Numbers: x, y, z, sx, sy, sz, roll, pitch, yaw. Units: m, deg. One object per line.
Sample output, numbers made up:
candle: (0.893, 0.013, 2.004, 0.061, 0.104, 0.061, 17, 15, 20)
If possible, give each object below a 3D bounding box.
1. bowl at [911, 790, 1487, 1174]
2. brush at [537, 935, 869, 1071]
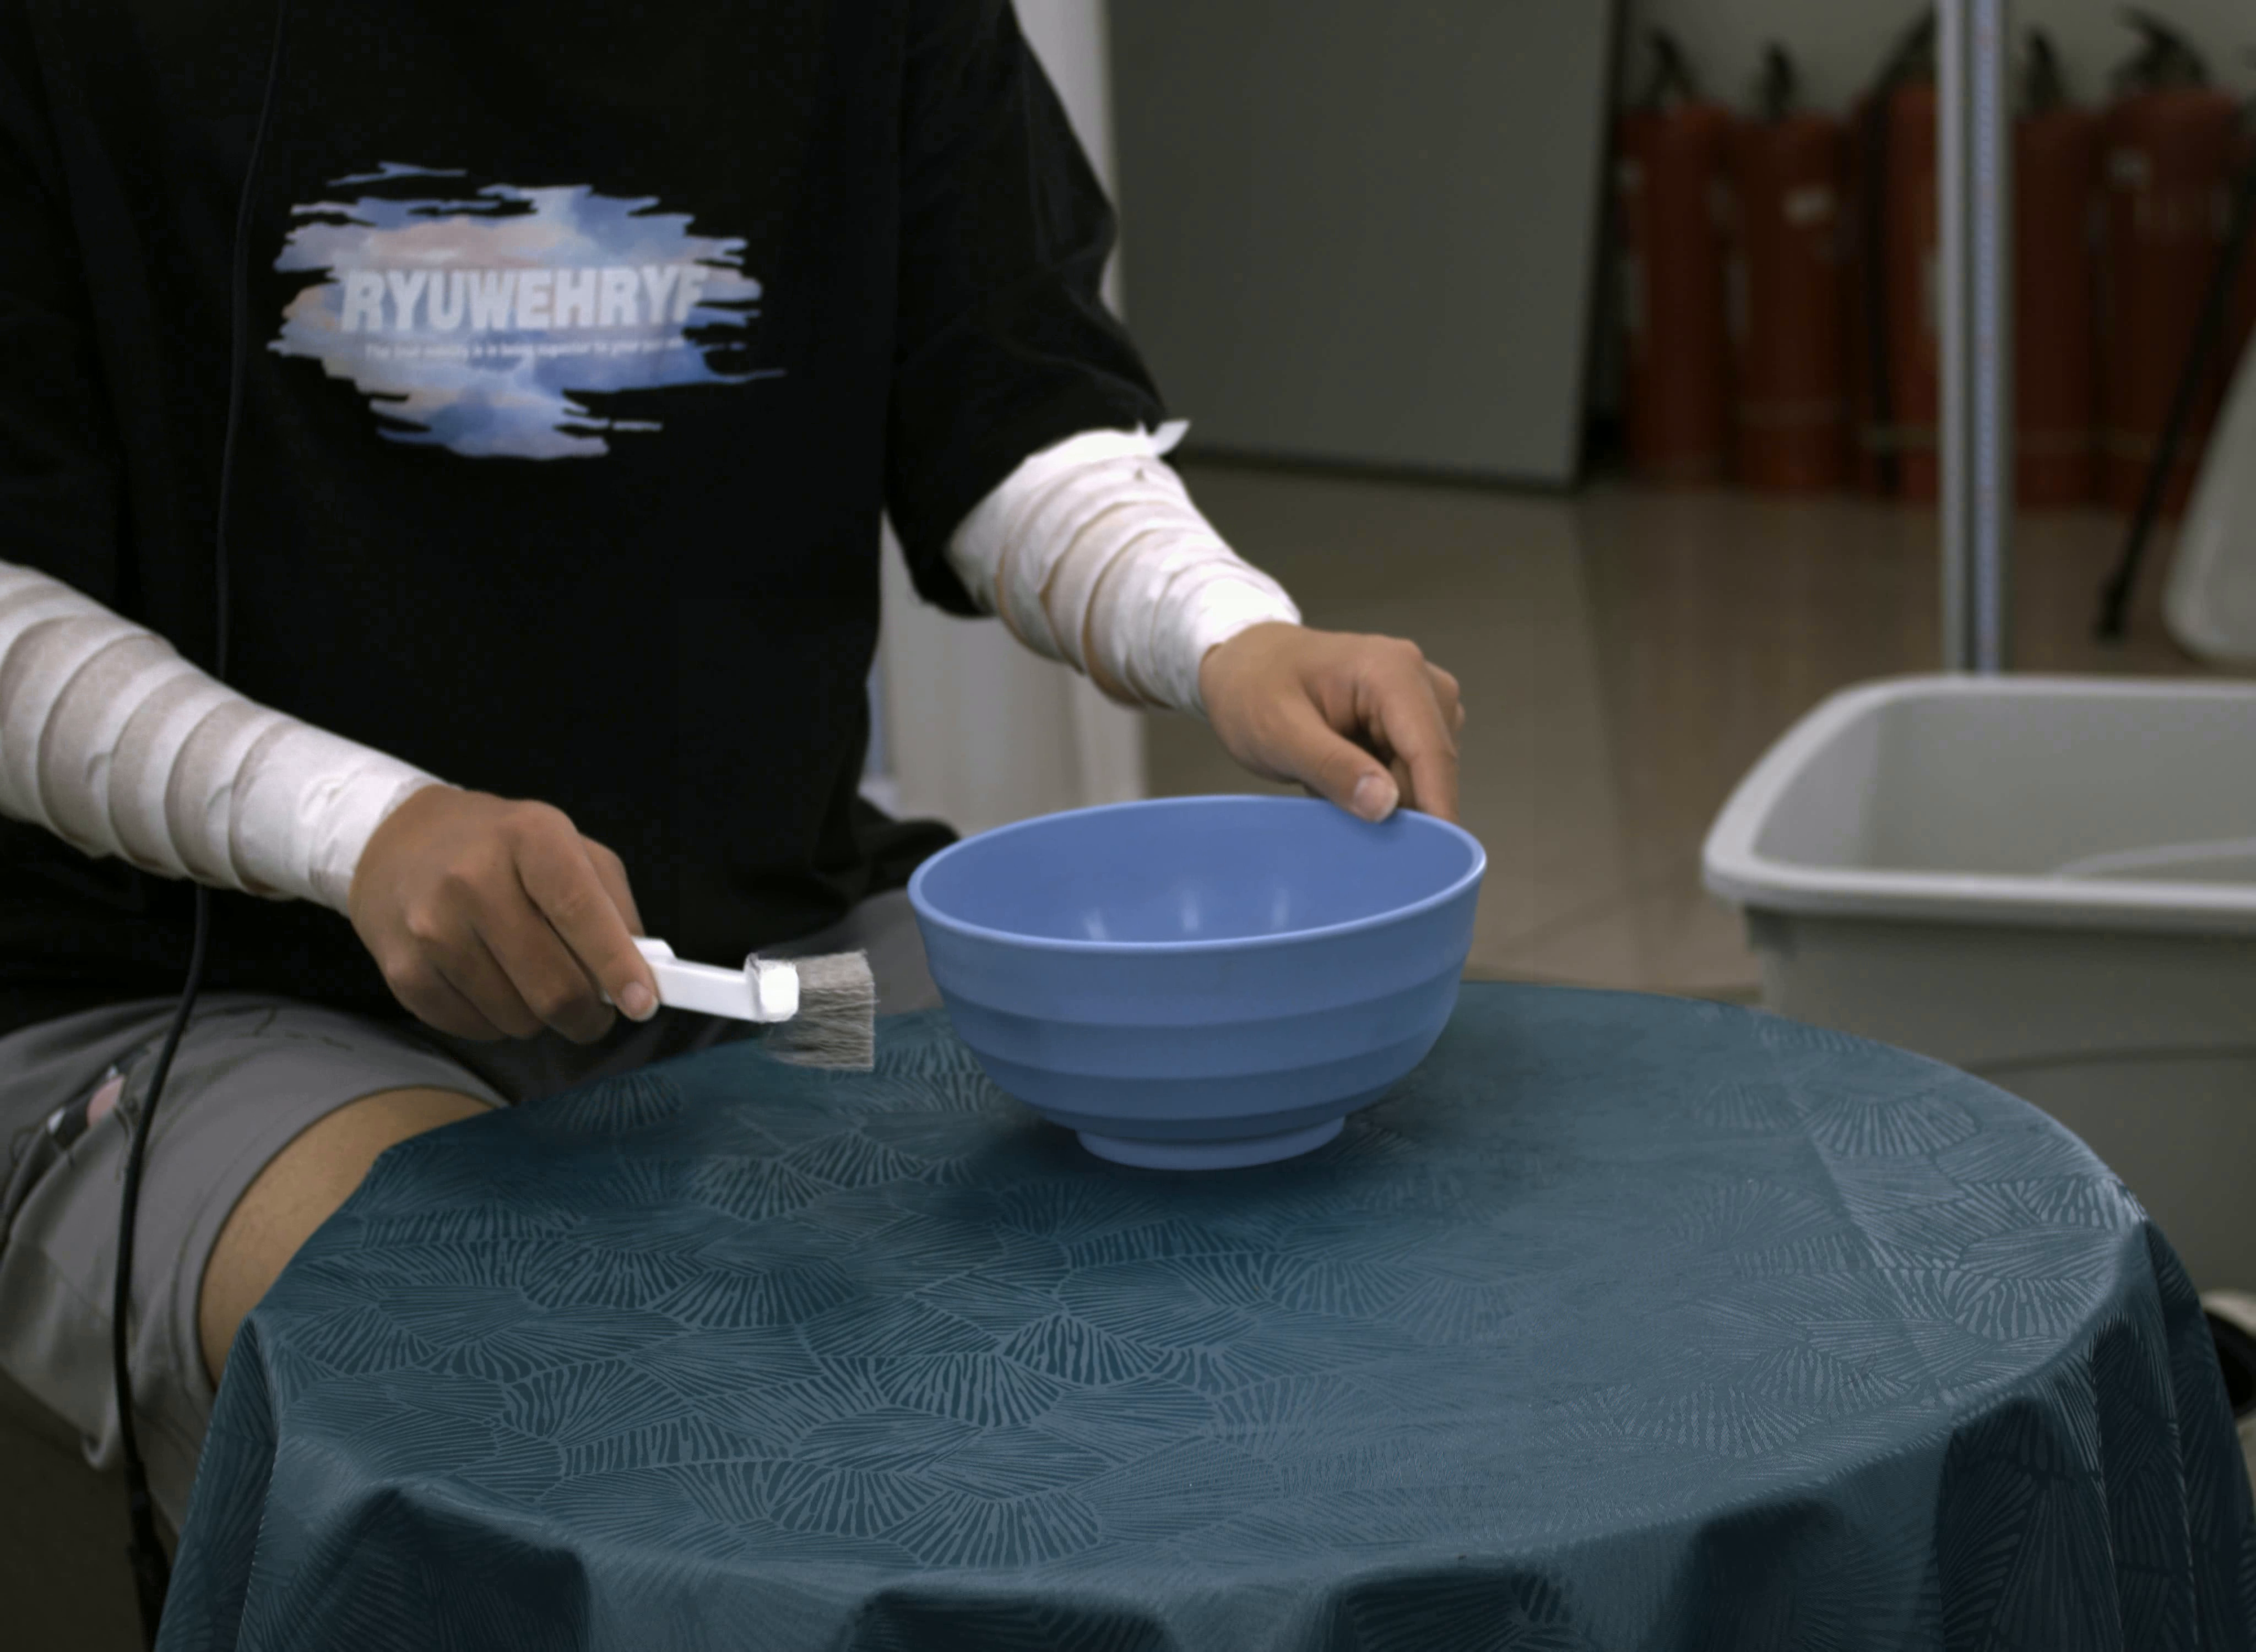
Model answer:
bowl: (0.027, 0.058, 1.821, 0.194, 0.096, 0.197, -4, 15, 0)
brush: (-0.138, 0.056, 1.793, 0.049, 0.035, 0.246, 1, 2, -24)
